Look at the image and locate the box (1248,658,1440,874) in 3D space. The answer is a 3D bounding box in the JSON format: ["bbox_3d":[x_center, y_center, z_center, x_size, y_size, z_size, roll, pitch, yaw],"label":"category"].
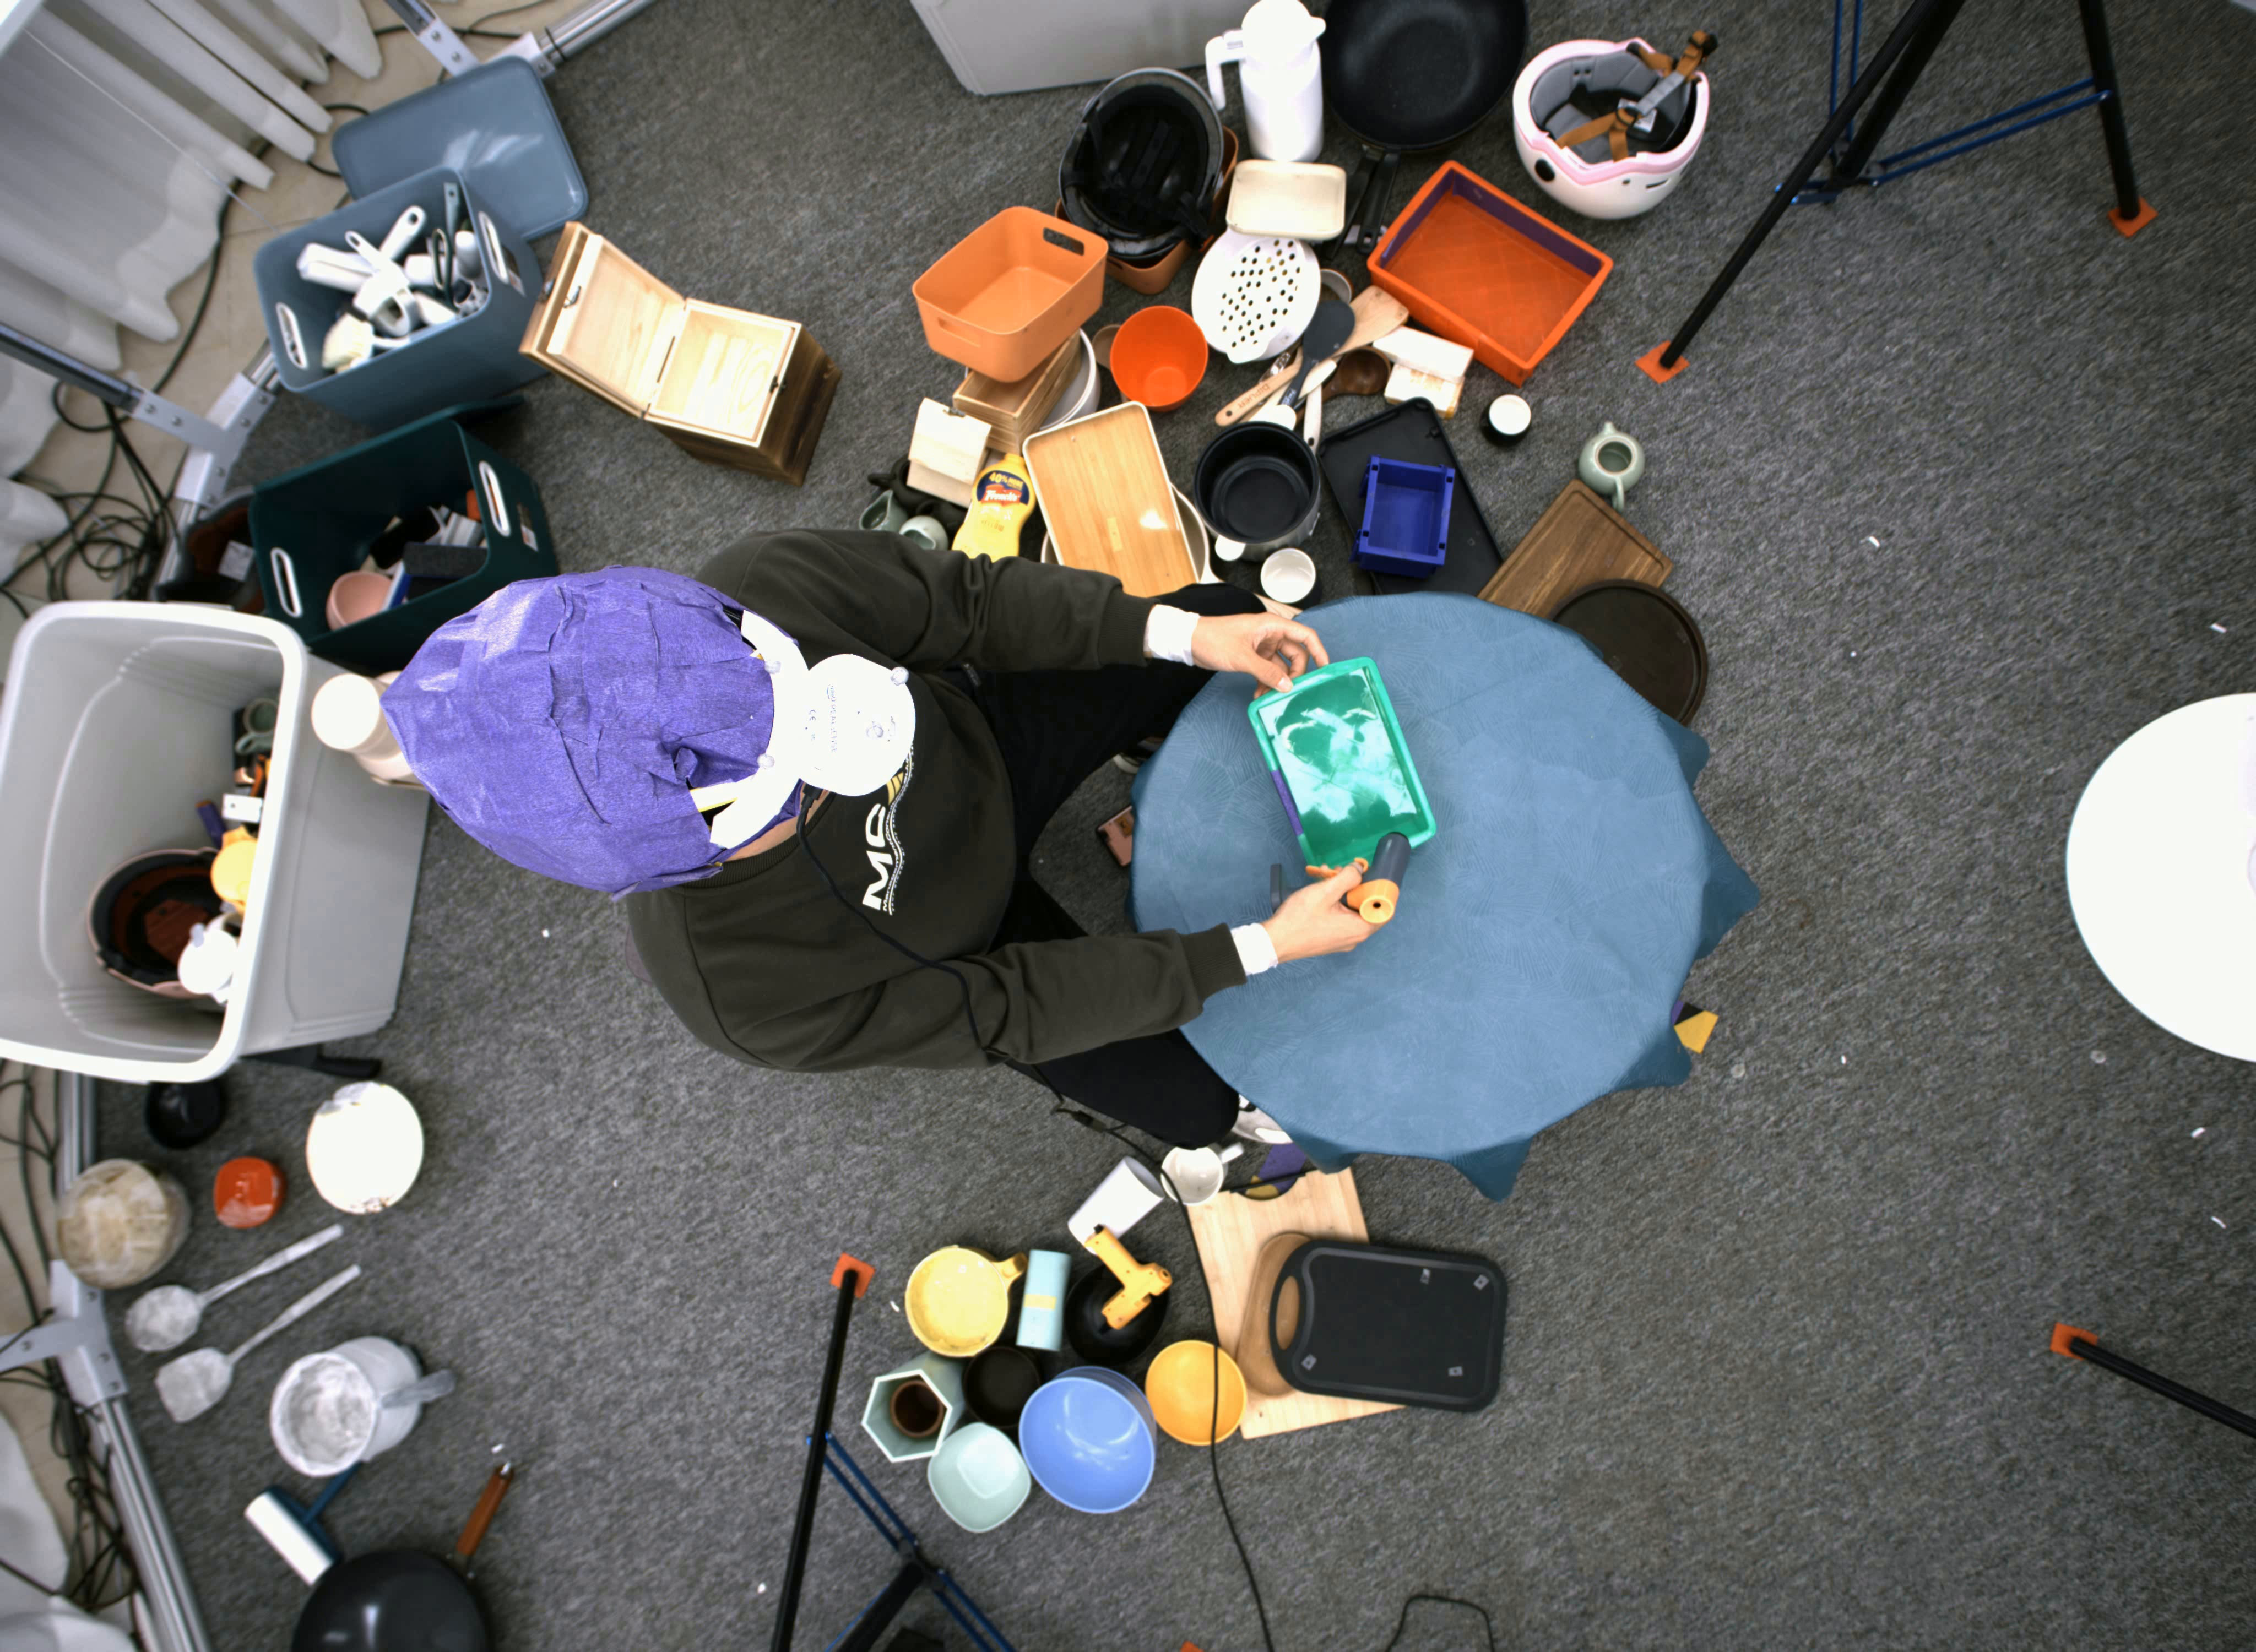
[{"bbox_3d":[0.220,-0.062,1.418,0.139,0.064,0.212,-23,104,10],"label":"box"}]

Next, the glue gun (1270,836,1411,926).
[{"bbox_3d":[0.213,0.052,1.366,0.141,0.115,0.041,-13,115,12],"label":"glue gun"}]
